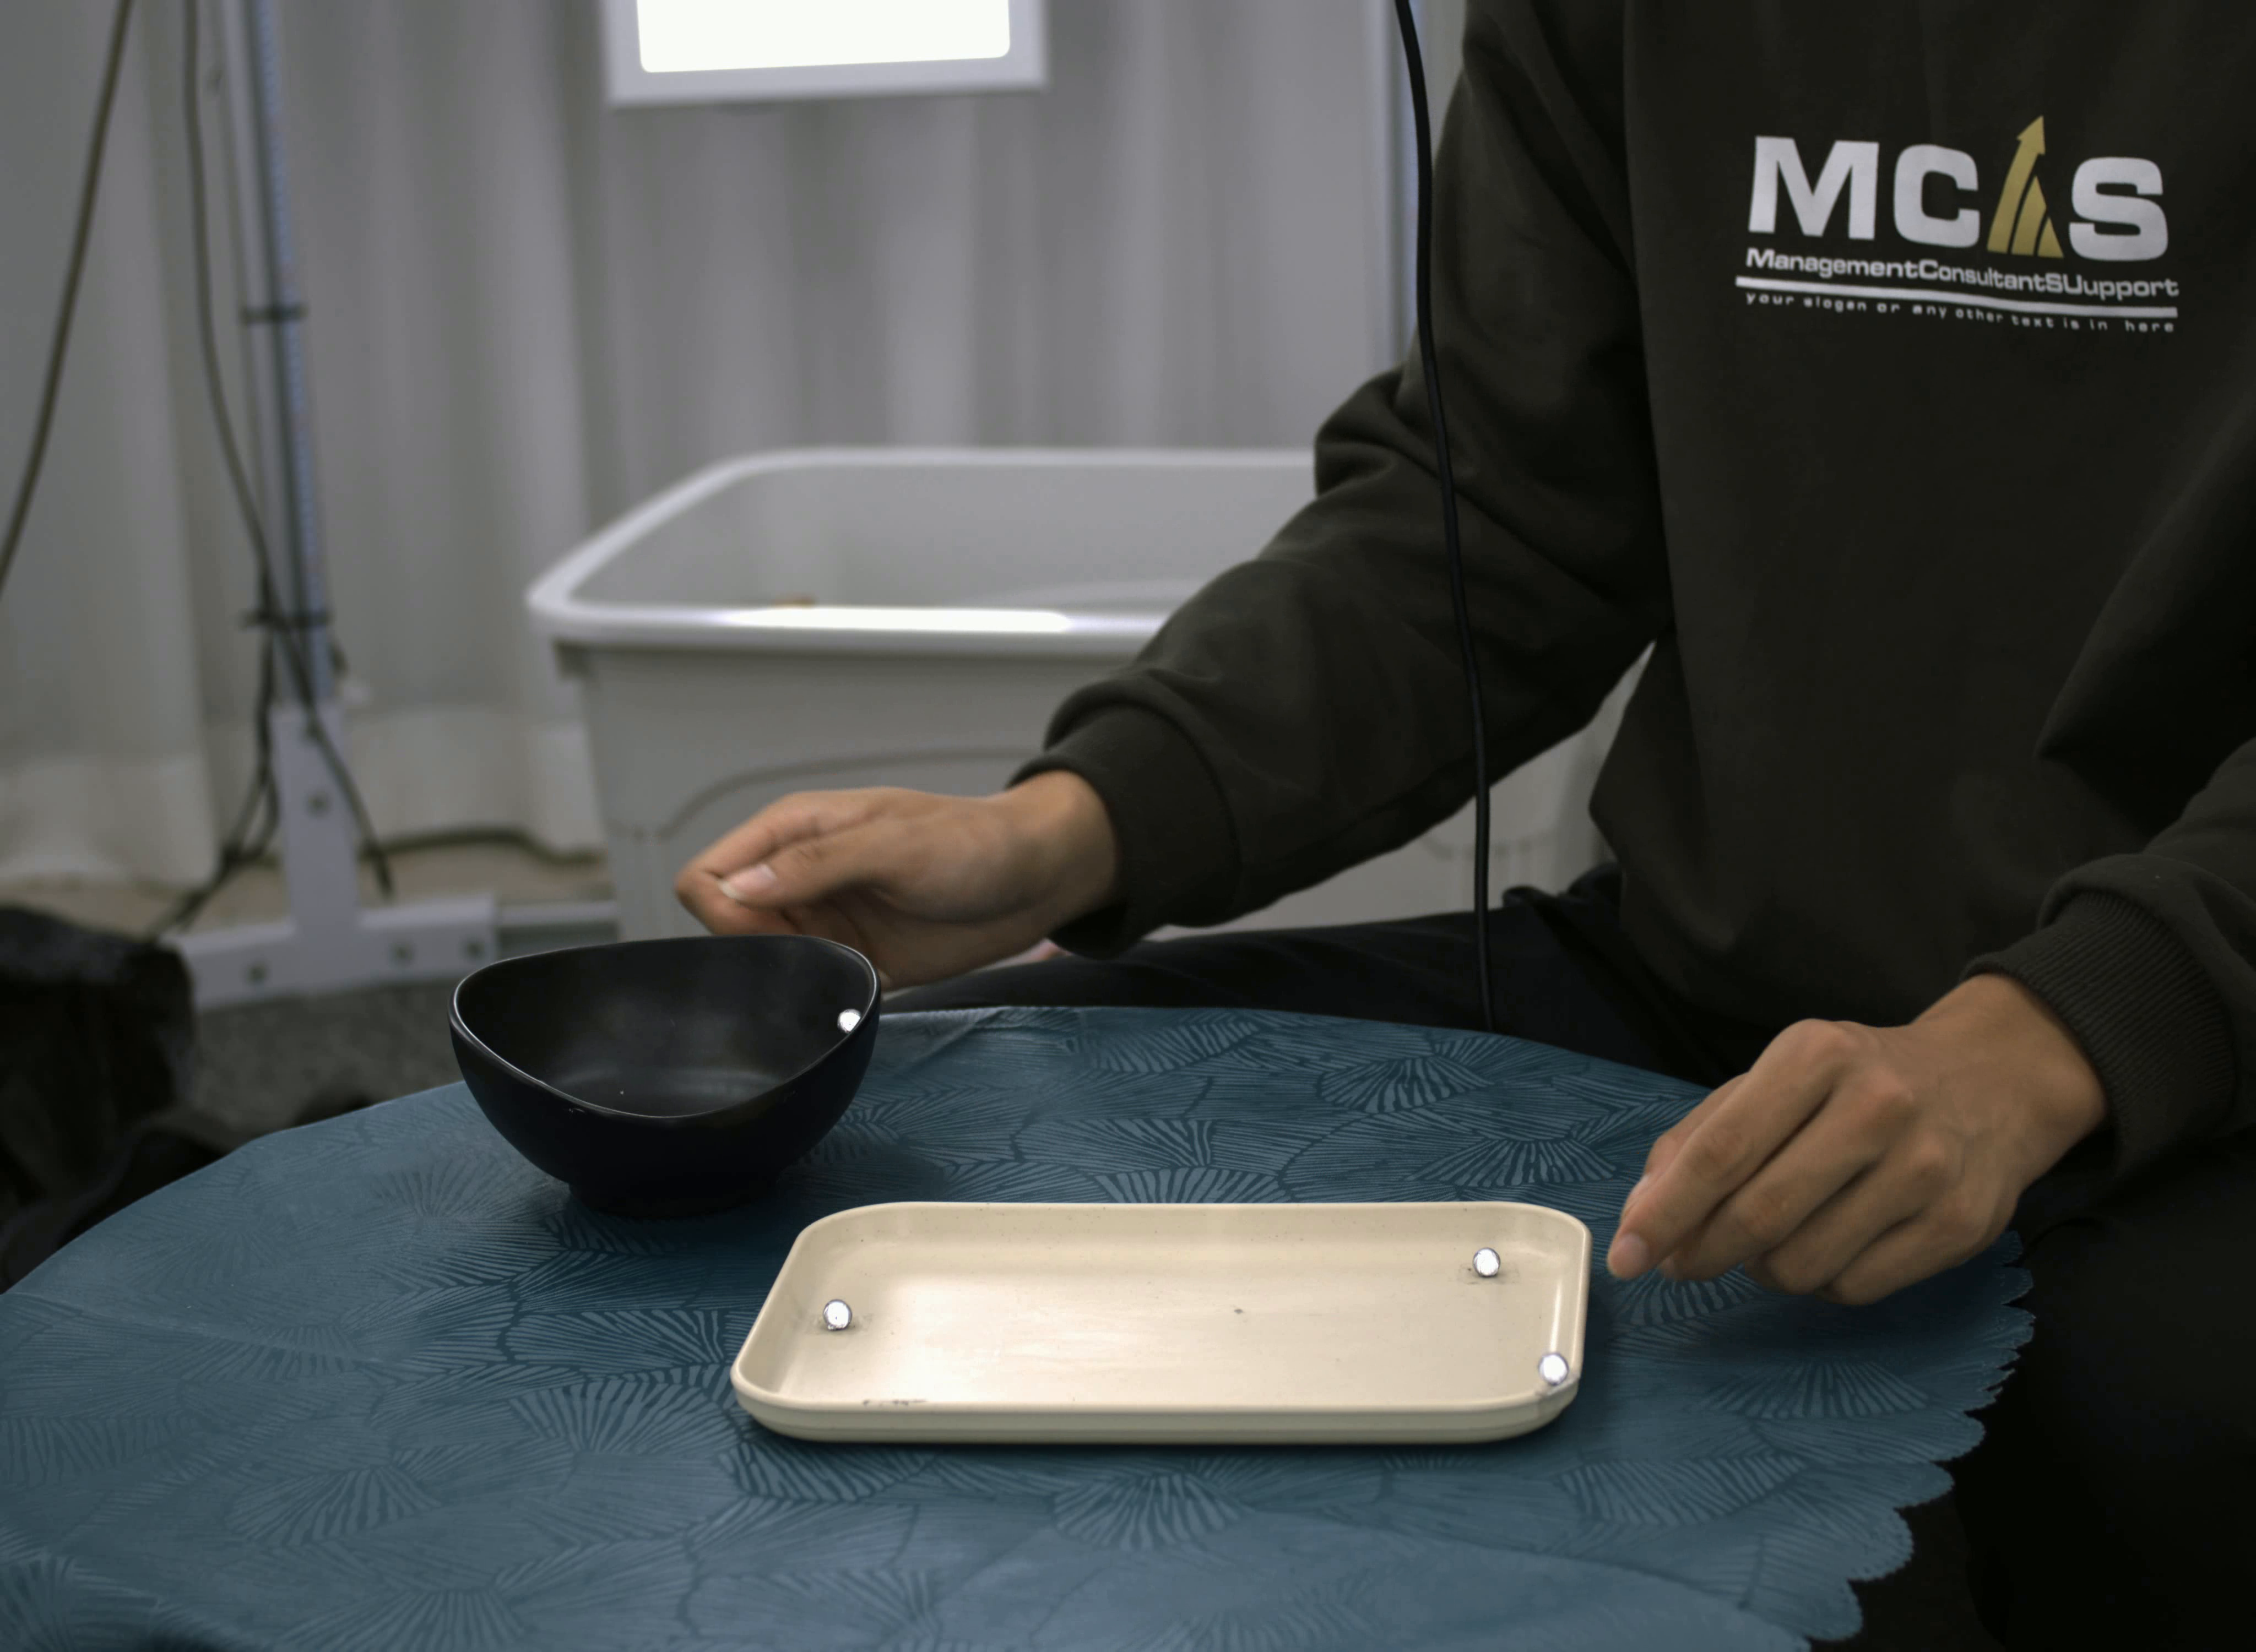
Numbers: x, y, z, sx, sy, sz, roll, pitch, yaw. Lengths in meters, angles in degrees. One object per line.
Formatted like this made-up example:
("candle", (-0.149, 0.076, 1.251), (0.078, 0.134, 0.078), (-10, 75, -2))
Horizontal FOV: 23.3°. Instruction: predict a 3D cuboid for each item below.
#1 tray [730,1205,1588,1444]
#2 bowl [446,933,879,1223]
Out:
("tray", (0.012, 0.144, 1.574), (0.239, 0.017, 0.172), (-1, 14, 7))
("bowl", (-0.145, 0.084, 1.738), (0.137, 0.066, 0.172), (-6, 17, -8))
